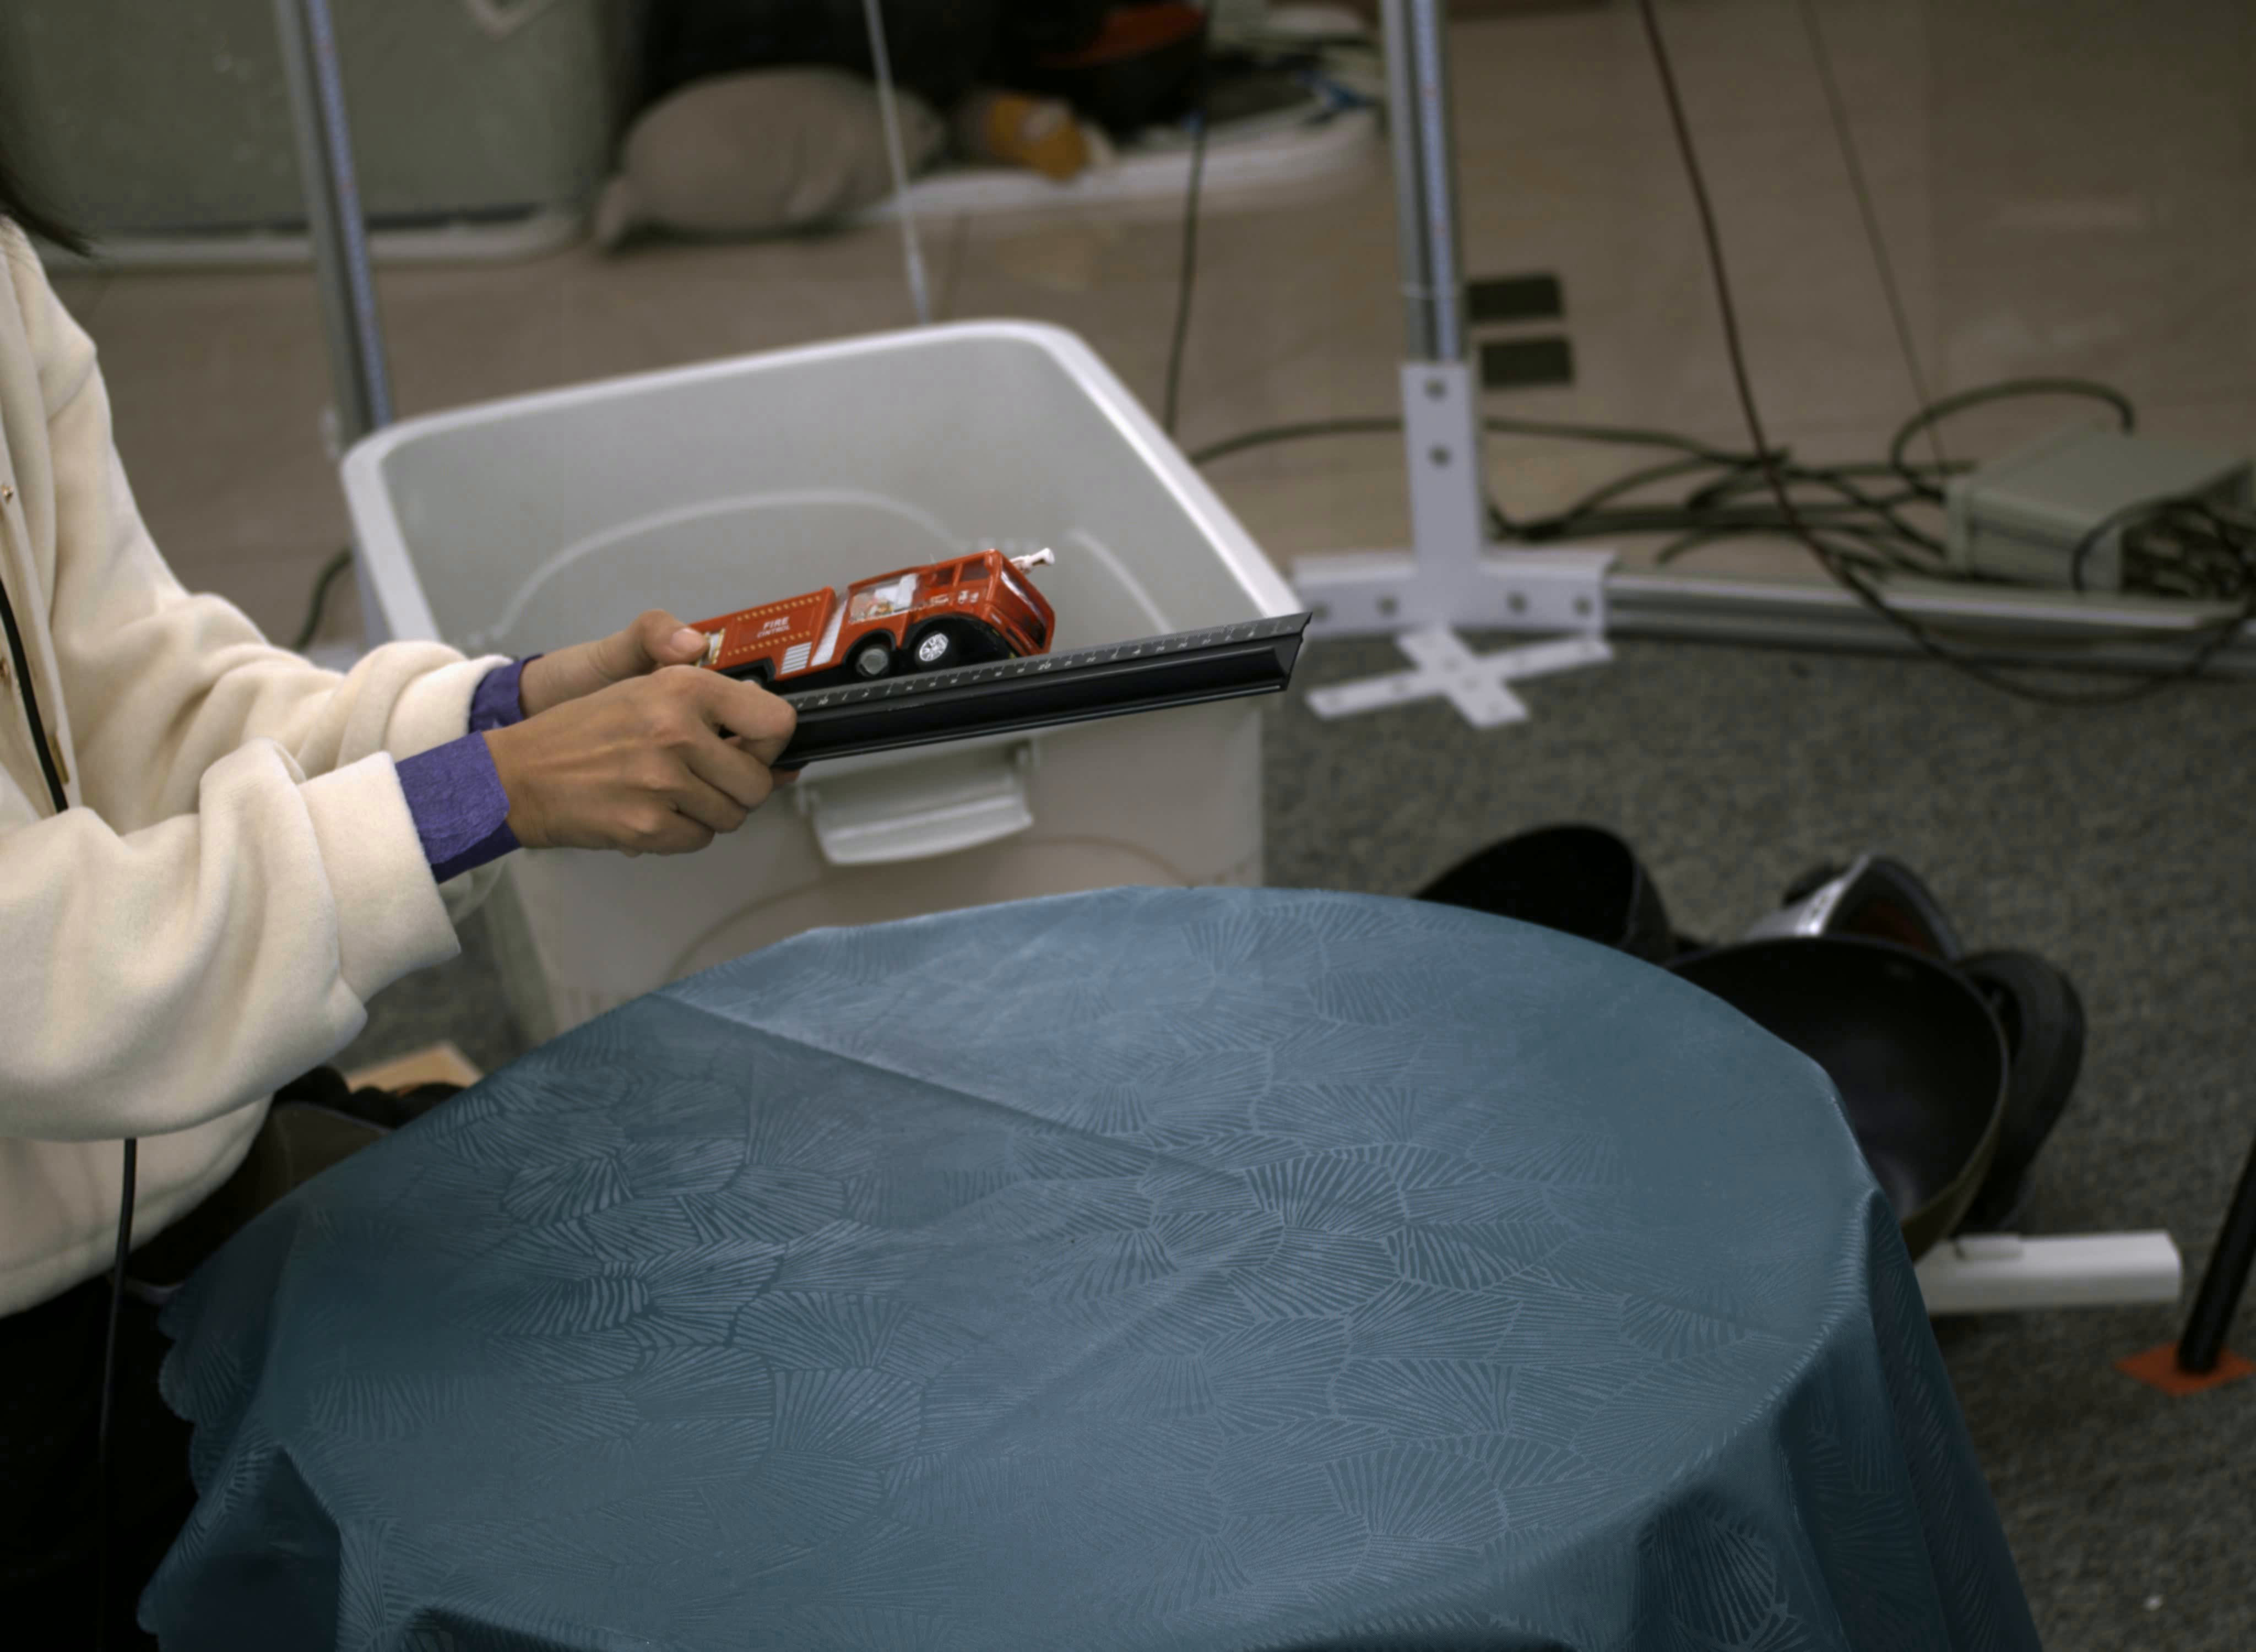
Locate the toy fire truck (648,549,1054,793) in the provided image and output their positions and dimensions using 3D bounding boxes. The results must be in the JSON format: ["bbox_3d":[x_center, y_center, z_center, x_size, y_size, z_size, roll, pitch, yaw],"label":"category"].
[{"bbox_3d":[-0.104,-0.061,2.172,0.168,0.055,0.069,-14,49,31],"label":"toy fire truck"}]

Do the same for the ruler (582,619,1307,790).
[{"bbox_3d":[-0.073,-0.049,2.093,0.312,0.017,0.038,-7,44,33],"label":"ruler"}]
